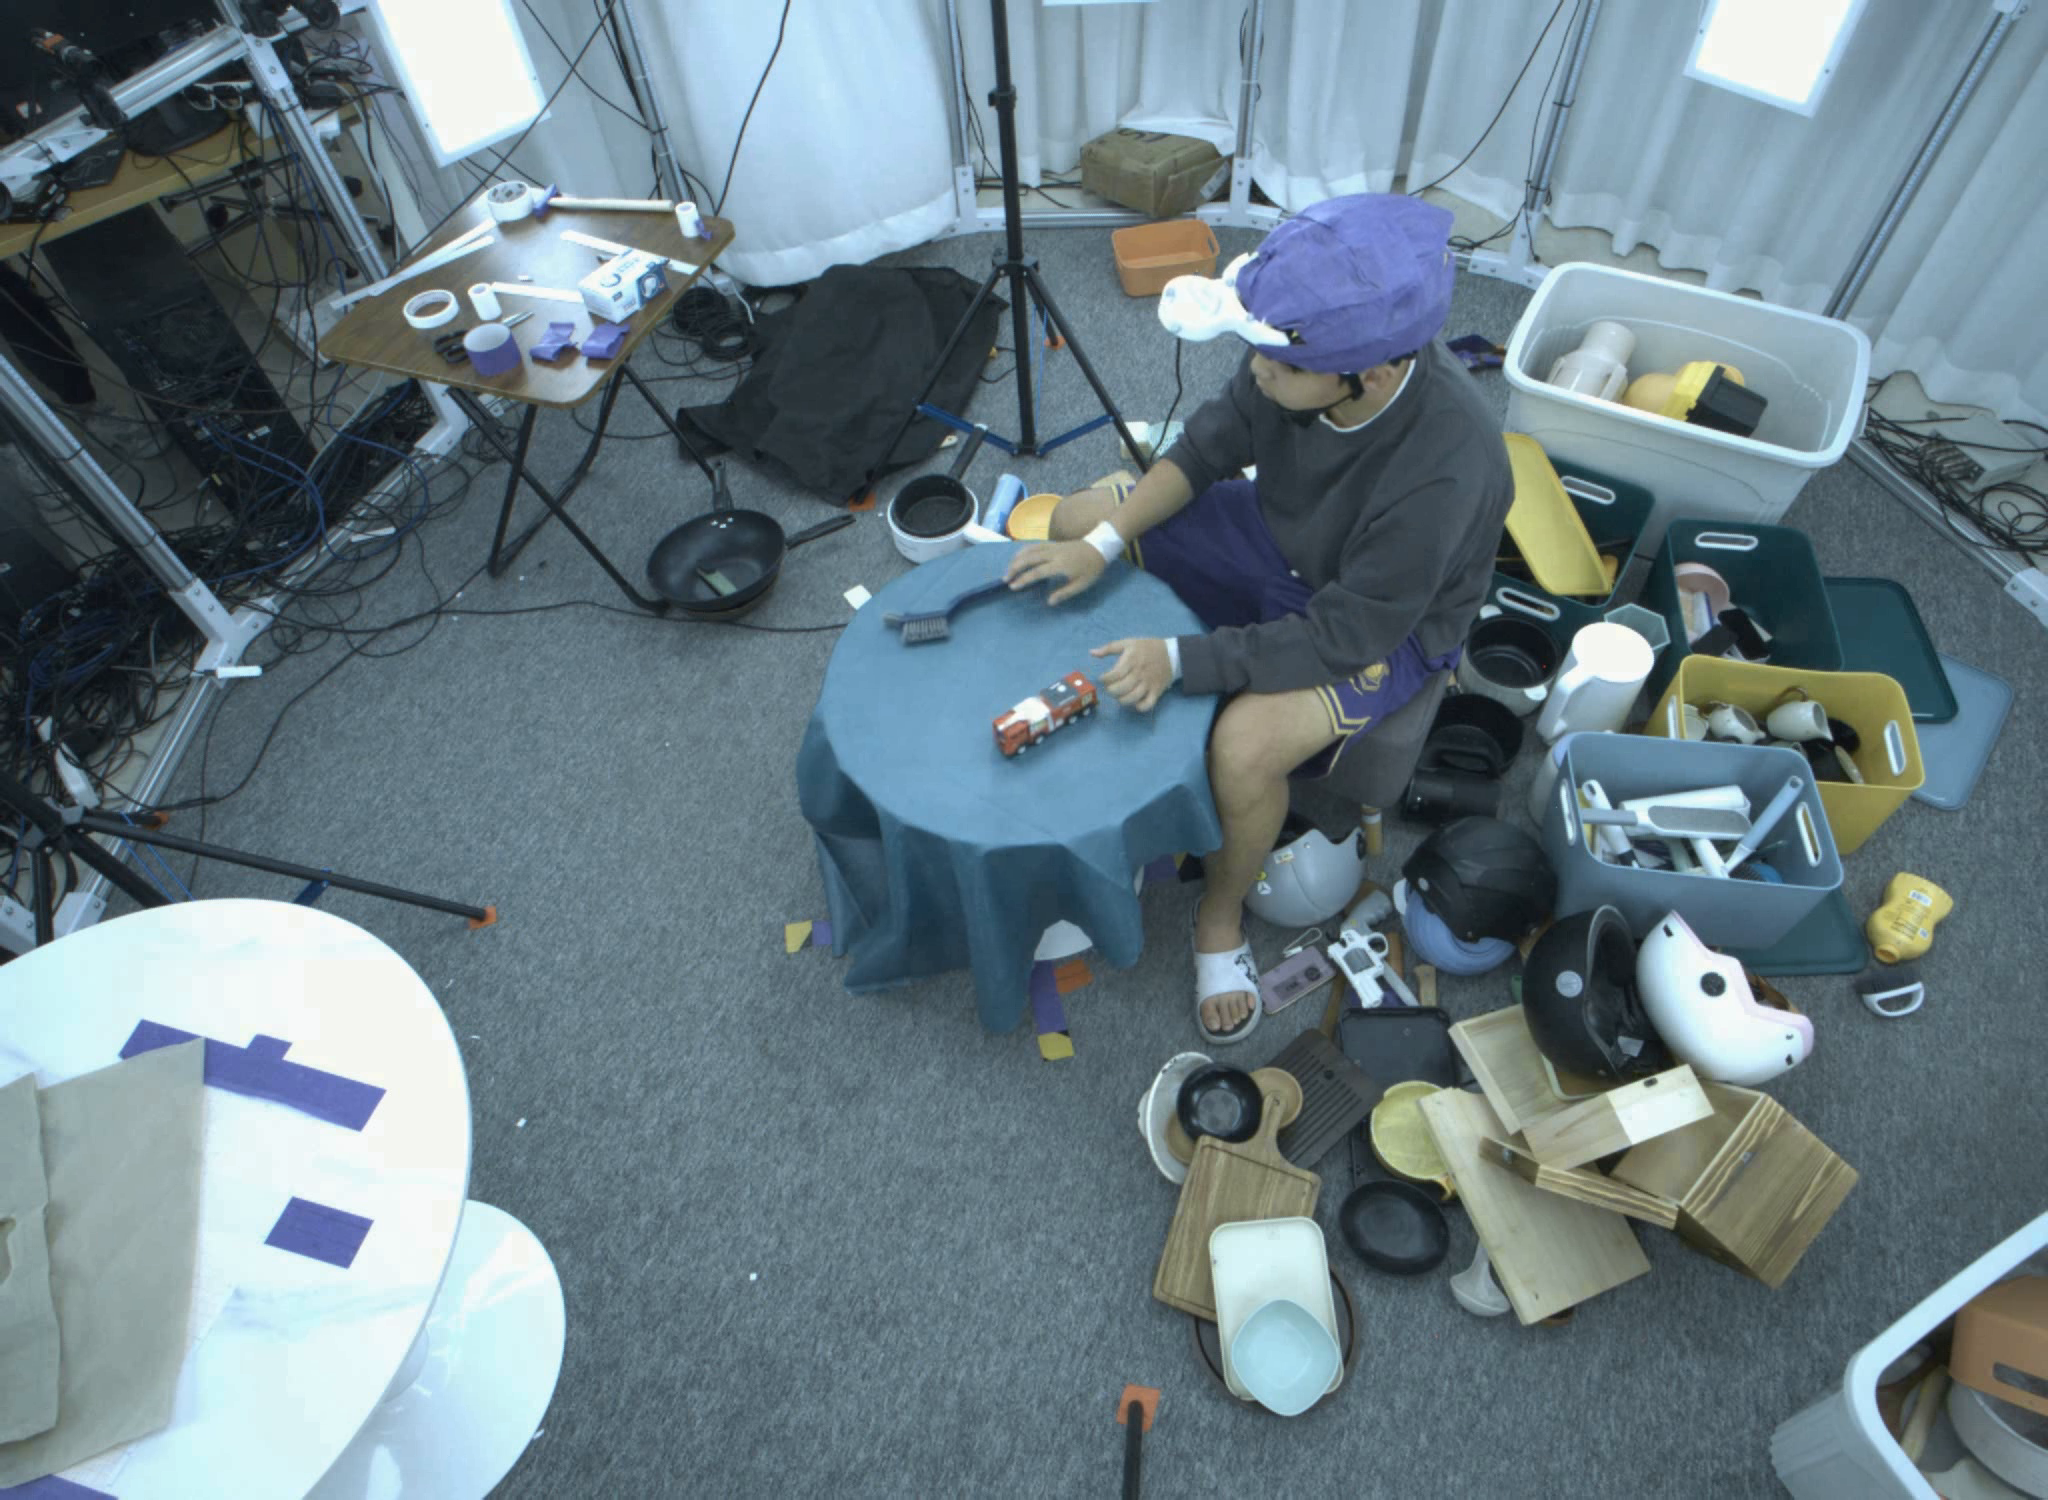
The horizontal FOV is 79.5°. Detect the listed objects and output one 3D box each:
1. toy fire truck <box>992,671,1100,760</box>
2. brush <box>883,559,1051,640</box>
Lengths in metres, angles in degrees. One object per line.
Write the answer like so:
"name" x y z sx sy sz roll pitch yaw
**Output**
"toy fire truck" 0.030 -0.051 1.788 0.169 0.071 0.053 -31 55 -19
"brush" -0.087 -0.250 1.951 0.275 0.034 0.094 -30 60 -17
